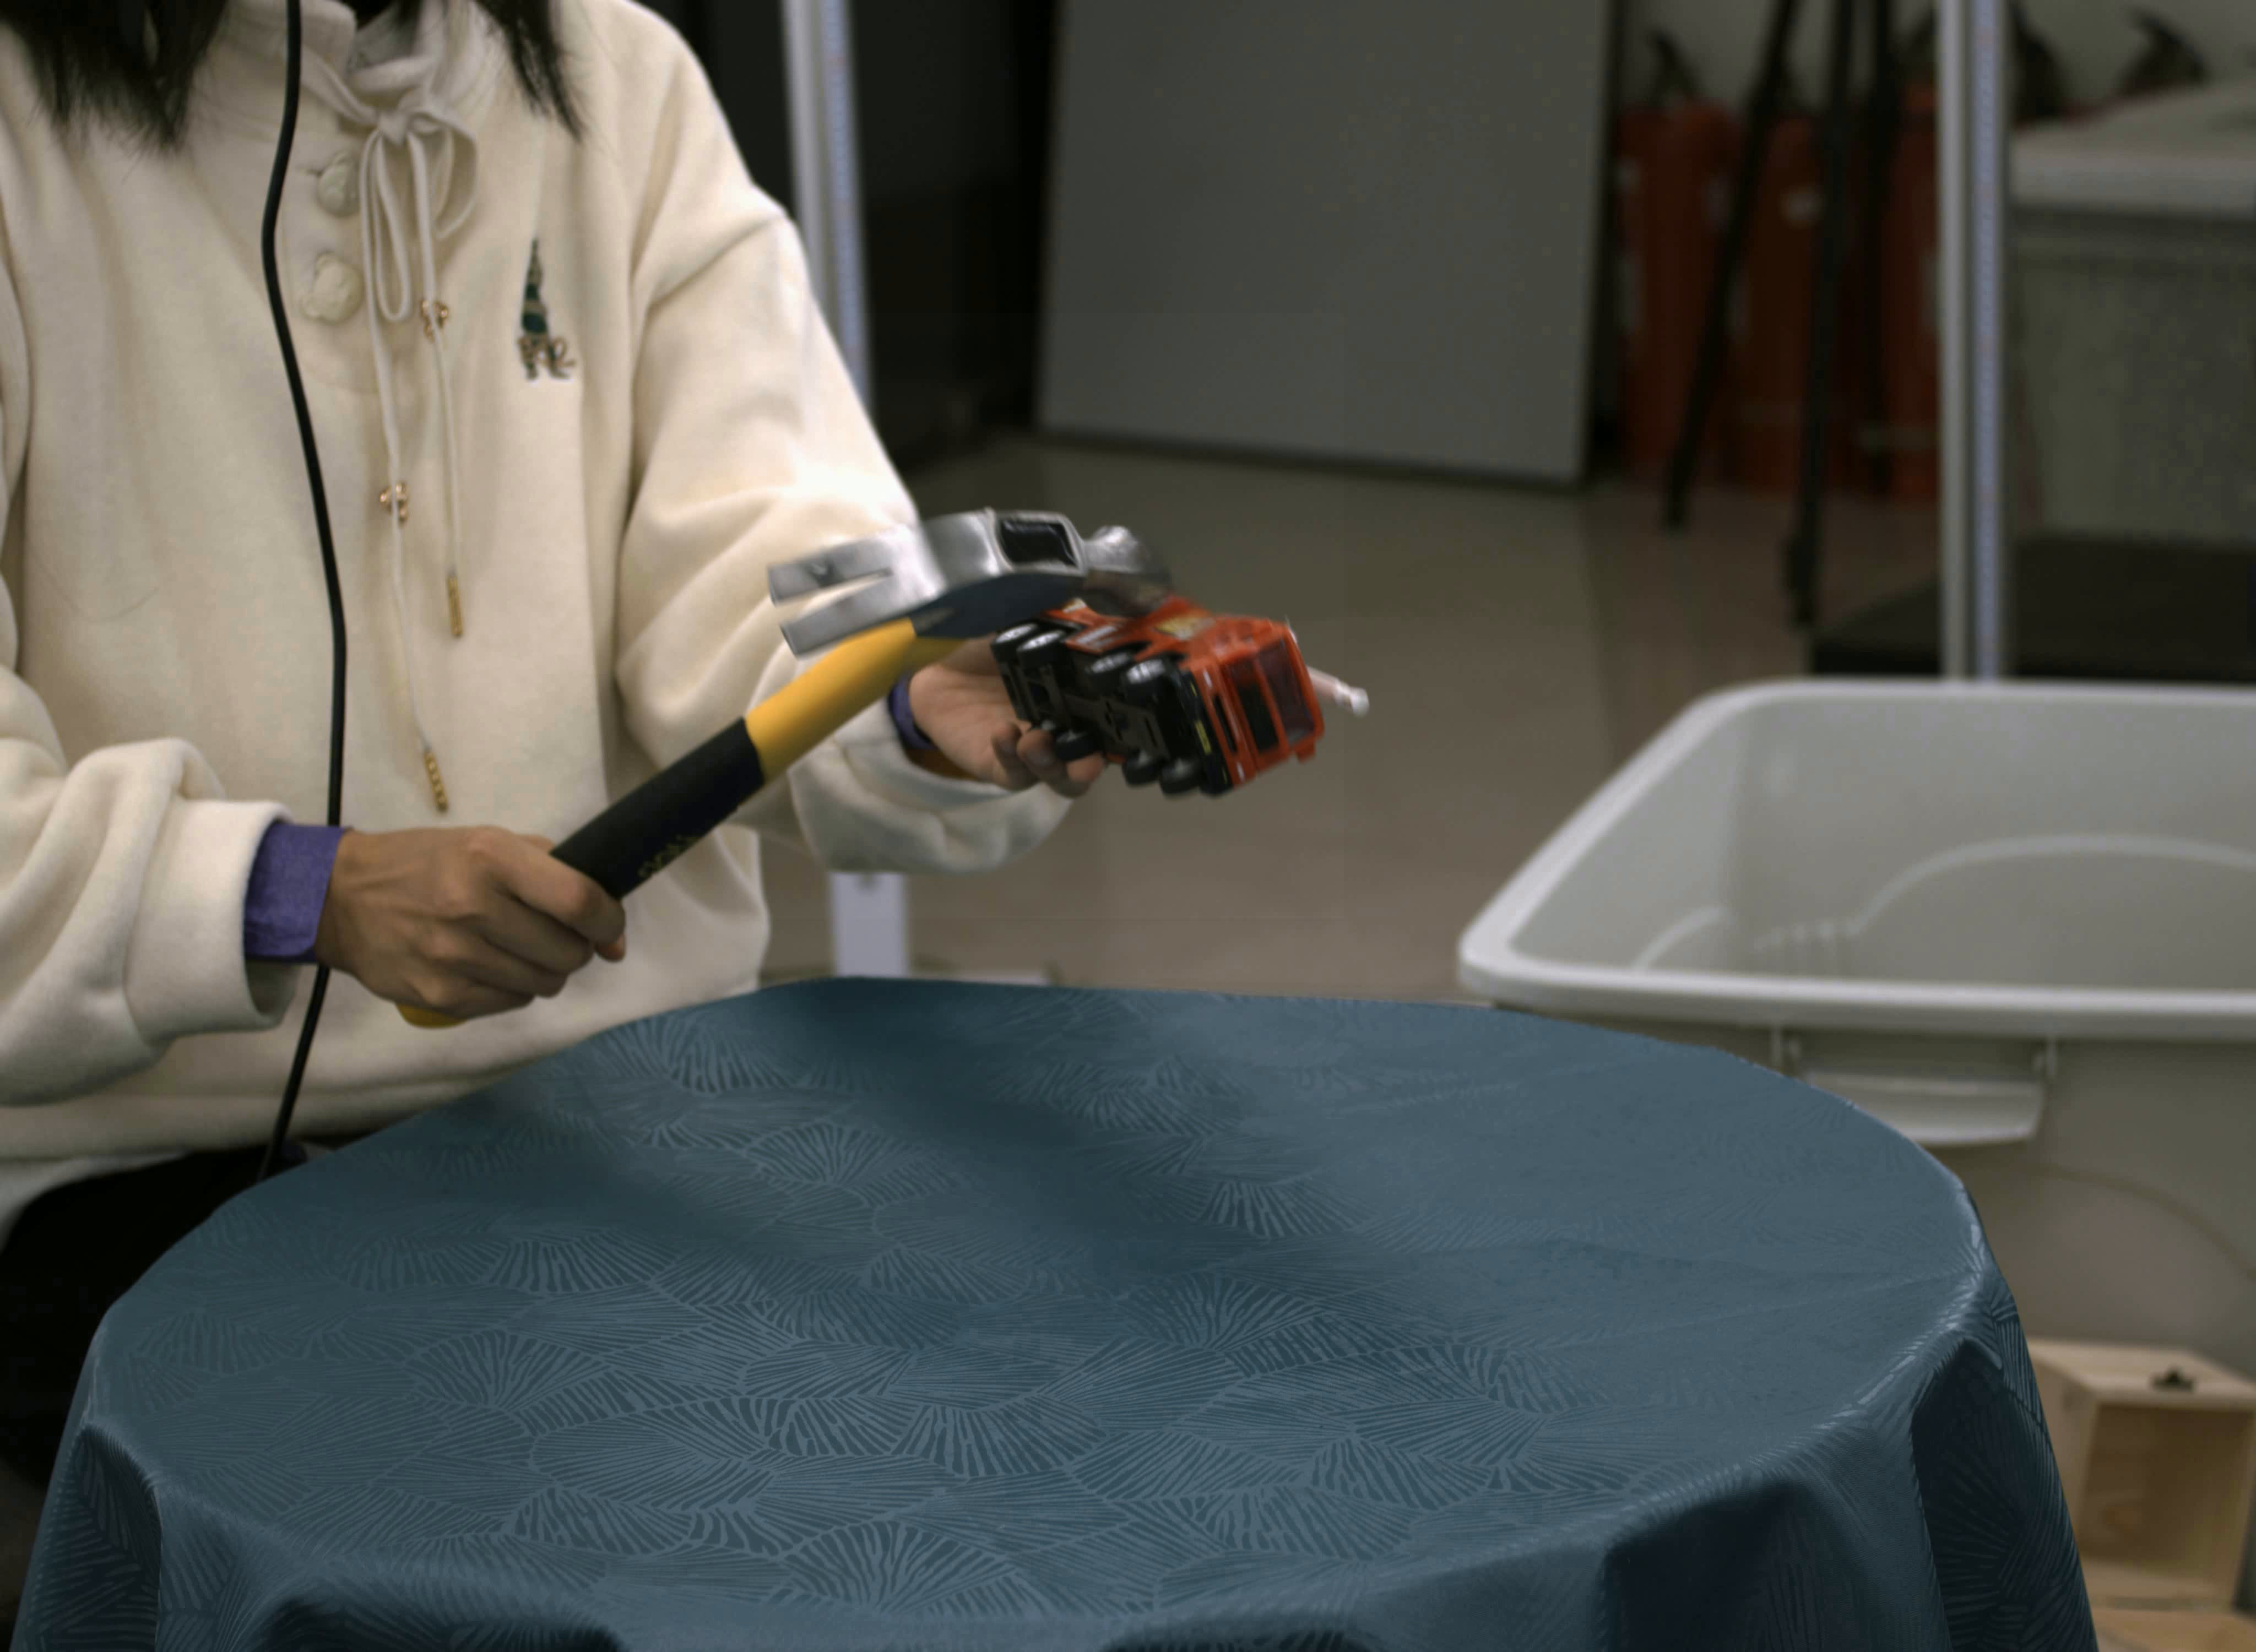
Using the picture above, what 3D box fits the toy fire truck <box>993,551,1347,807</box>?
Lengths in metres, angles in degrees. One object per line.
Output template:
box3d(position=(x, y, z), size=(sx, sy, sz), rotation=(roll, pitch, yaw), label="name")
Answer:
box3d(position=(0.008, -0.050, 1.768), size=(0.069, 0.054, 0.169), rotation=(-27, 16, -18), label="toy fire truck")

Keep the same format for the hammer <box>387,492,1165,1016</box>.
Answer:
box3d(position=(-0.141, -0.021, 1.817), size=(0.128, 0.032, 0.341), rotation=(1, -28, -46), label="hammer")
